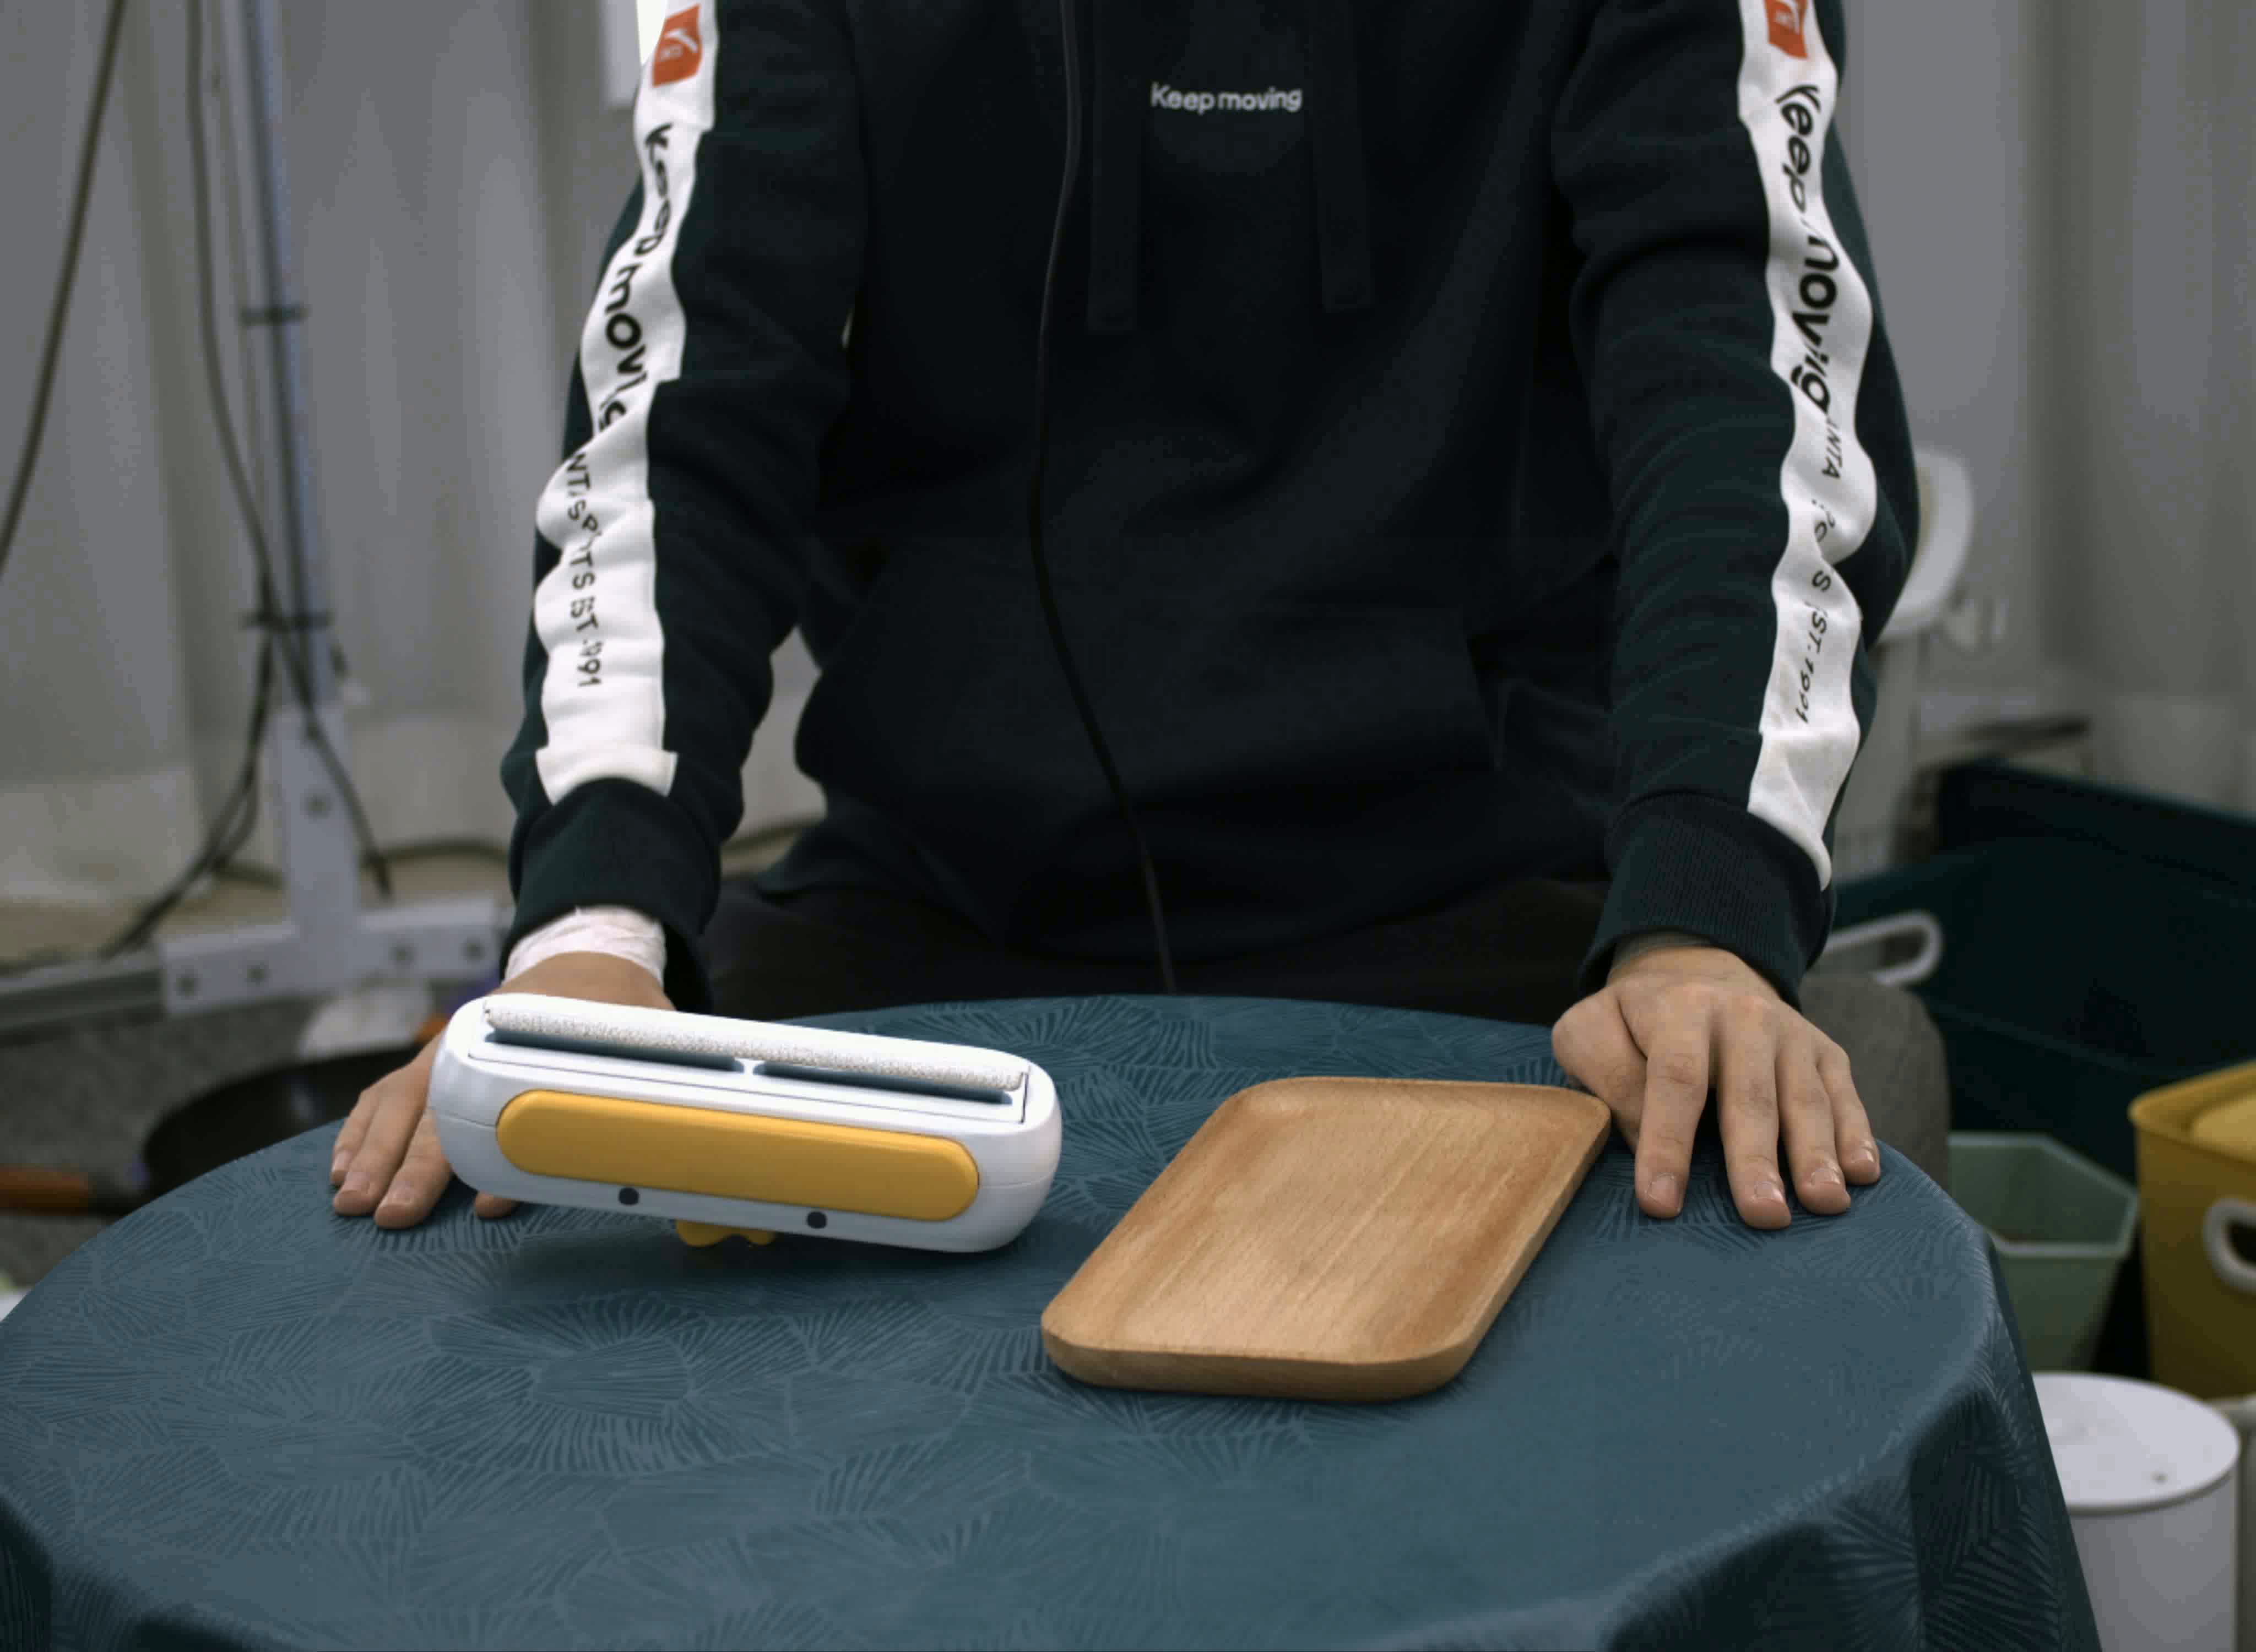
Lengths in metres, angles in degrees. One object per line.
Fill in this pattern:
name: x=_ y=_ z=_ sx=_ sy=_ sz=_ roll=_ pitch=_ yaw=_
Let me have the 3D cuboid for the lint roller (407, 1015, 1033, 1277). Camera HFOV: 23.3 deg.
lint roller: x=-0.120 y=0.102 z=1.727 sx=0.192 sy=0.074 sz=0.192 roll=5 pitch=1 yaw=5

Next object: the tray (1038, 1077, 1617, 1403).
tray: x=0.064 y=0.122 z=1.644 sx=0.130 sy=0.023 sz=0.251 roll=4 pitch=16 yaw=17
